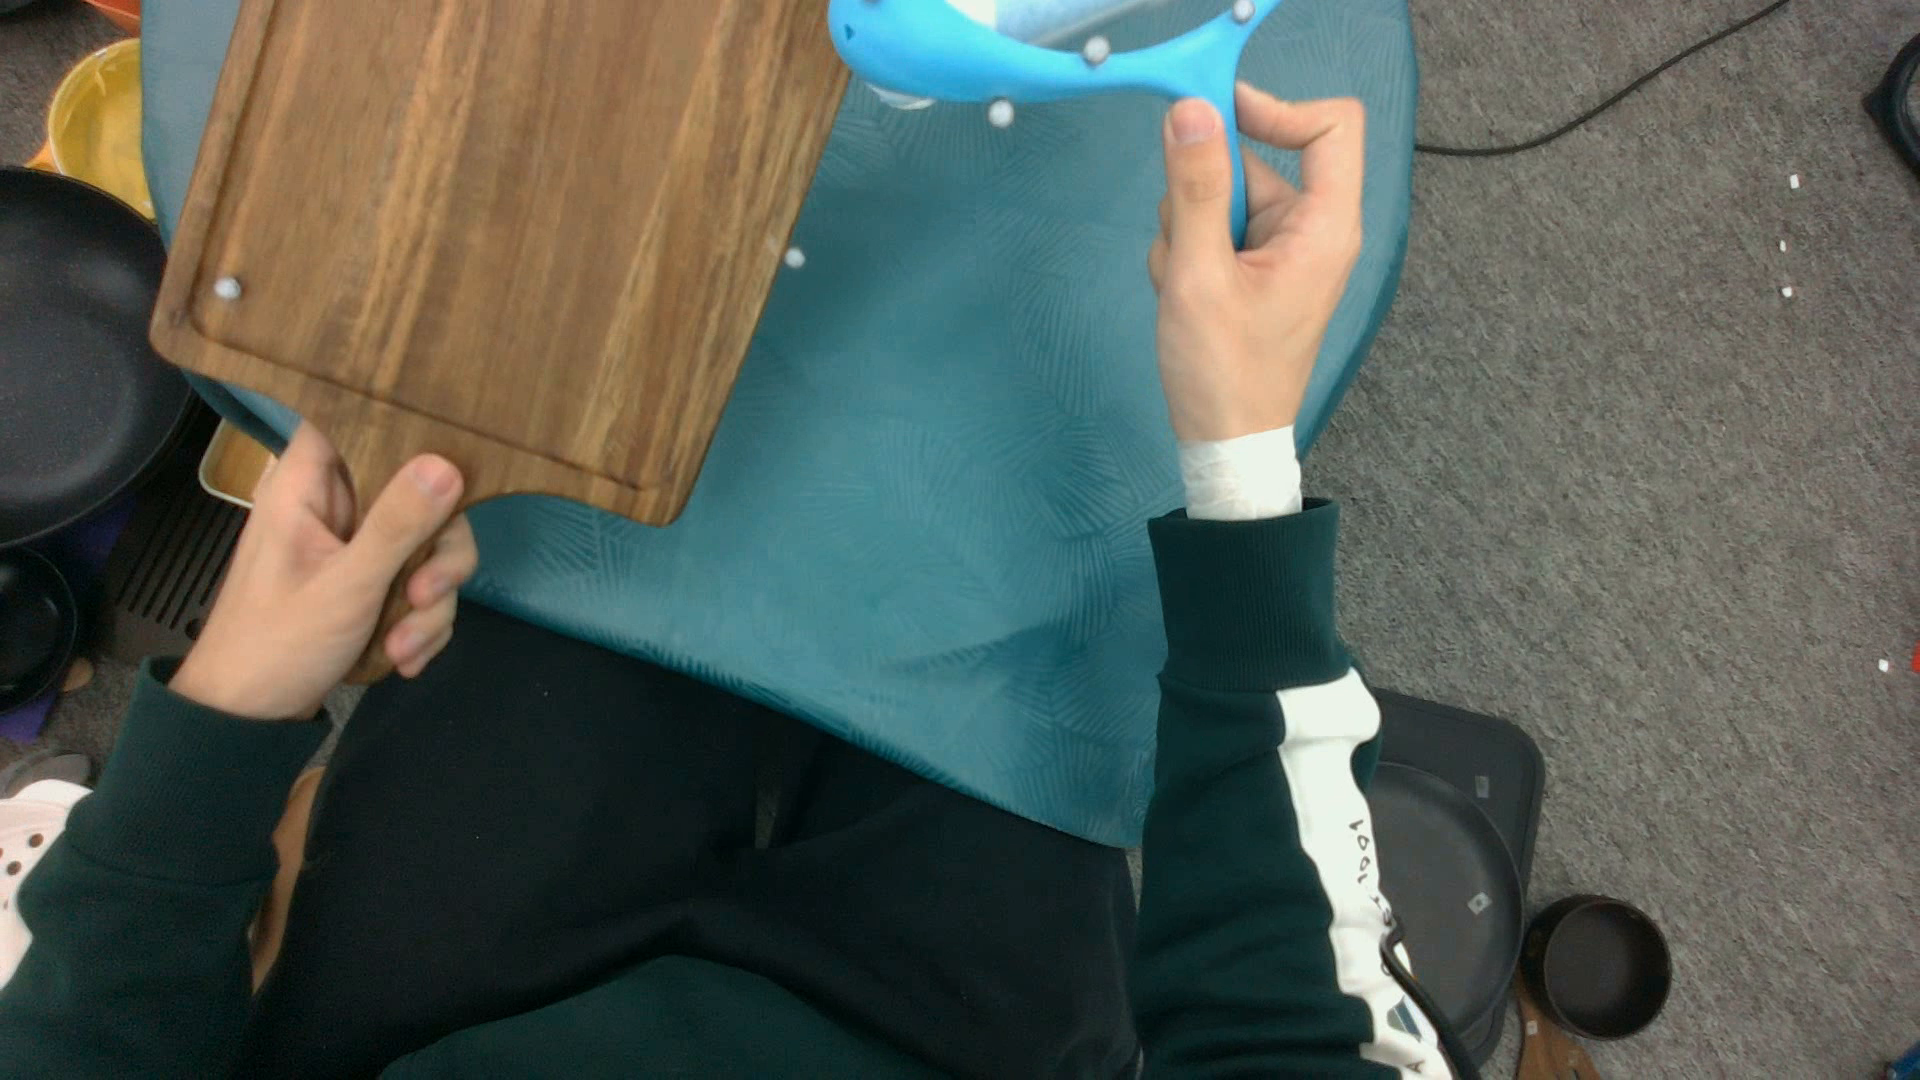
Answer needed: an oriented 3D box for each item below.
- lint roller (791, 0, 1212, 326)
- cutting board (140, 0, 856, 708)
[{"bbox_3d":[0.056,-0.168,0.505,0.180,0.067,0.230,55,49,-12],"label":"lint roller"},{"bbox_3d":[-0.179,-0.097,0.508,0.201,0.023,0.351,17,104,-18],"label":"cutting board"}]
